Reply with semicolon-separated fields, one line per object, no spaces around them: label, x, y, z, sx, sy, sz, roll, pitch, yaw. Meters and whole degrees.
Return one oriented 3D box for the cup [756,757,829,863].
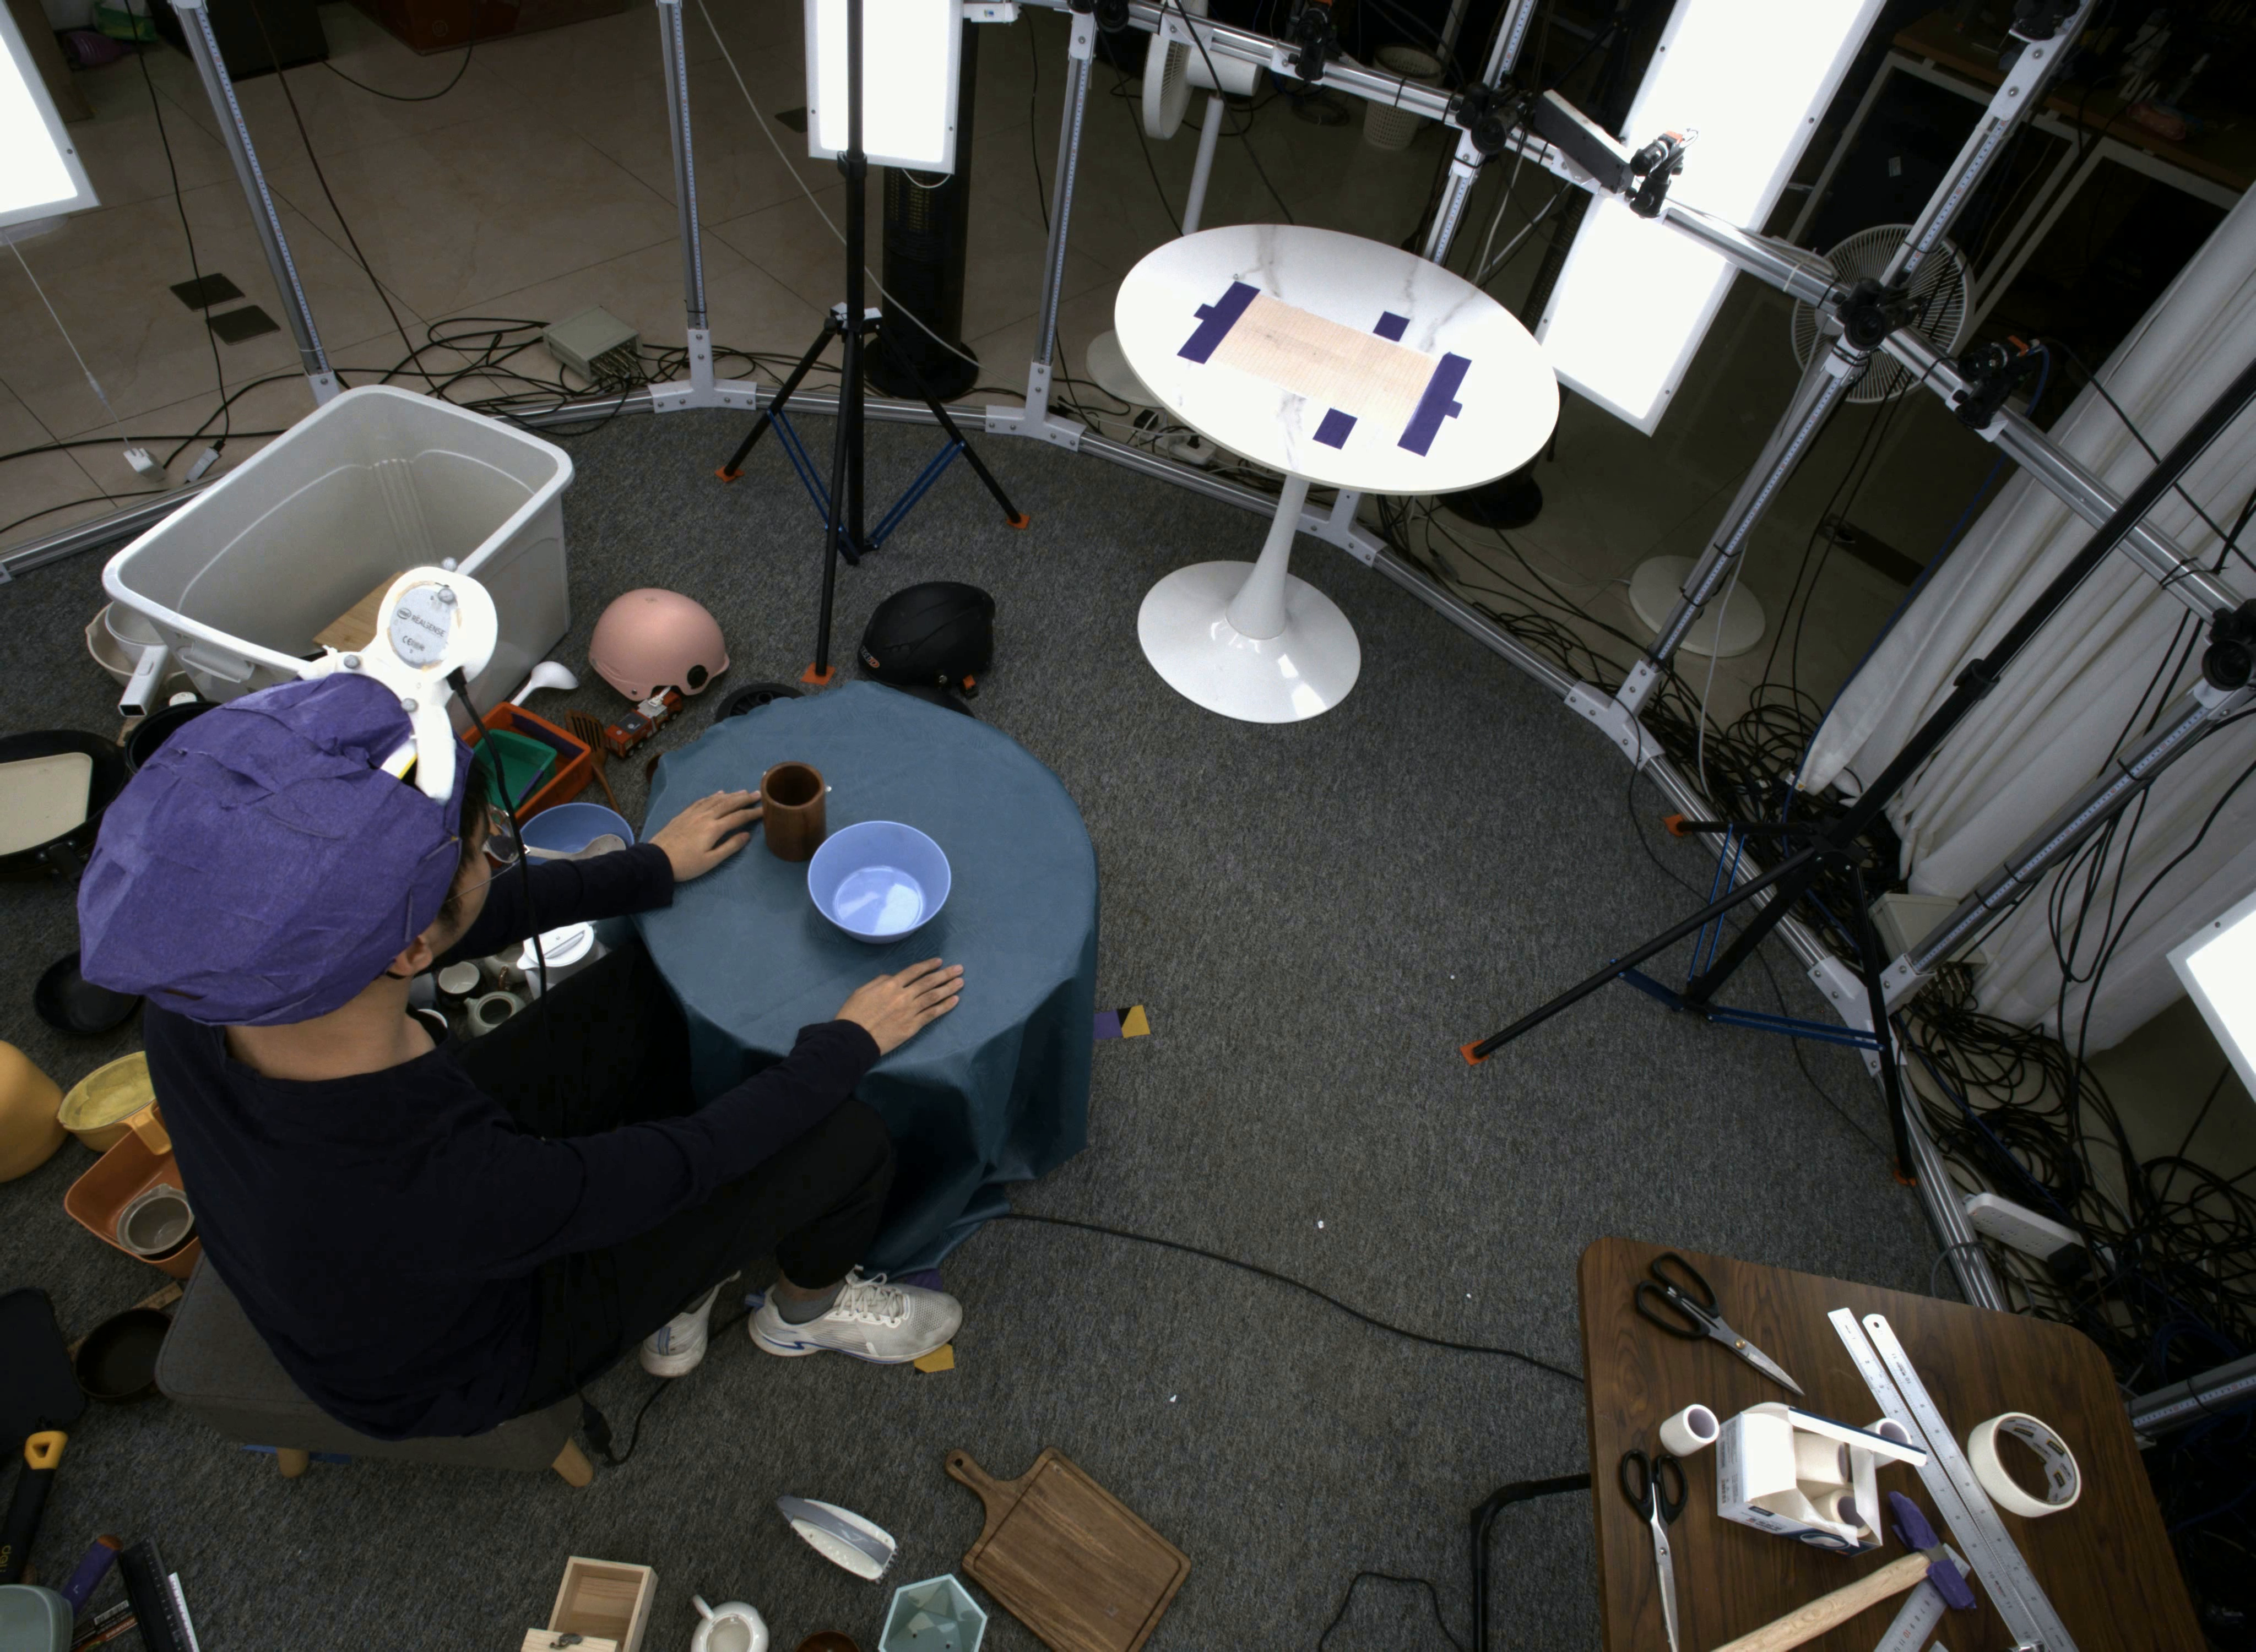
cup;-0.427;-0.020;1.665;0.087;0.121;0.086;5;53;-5

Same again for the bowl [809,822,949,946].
bowl;-0.314;0.083;1.646;0.175;0.072;0.173;7;53;-7
